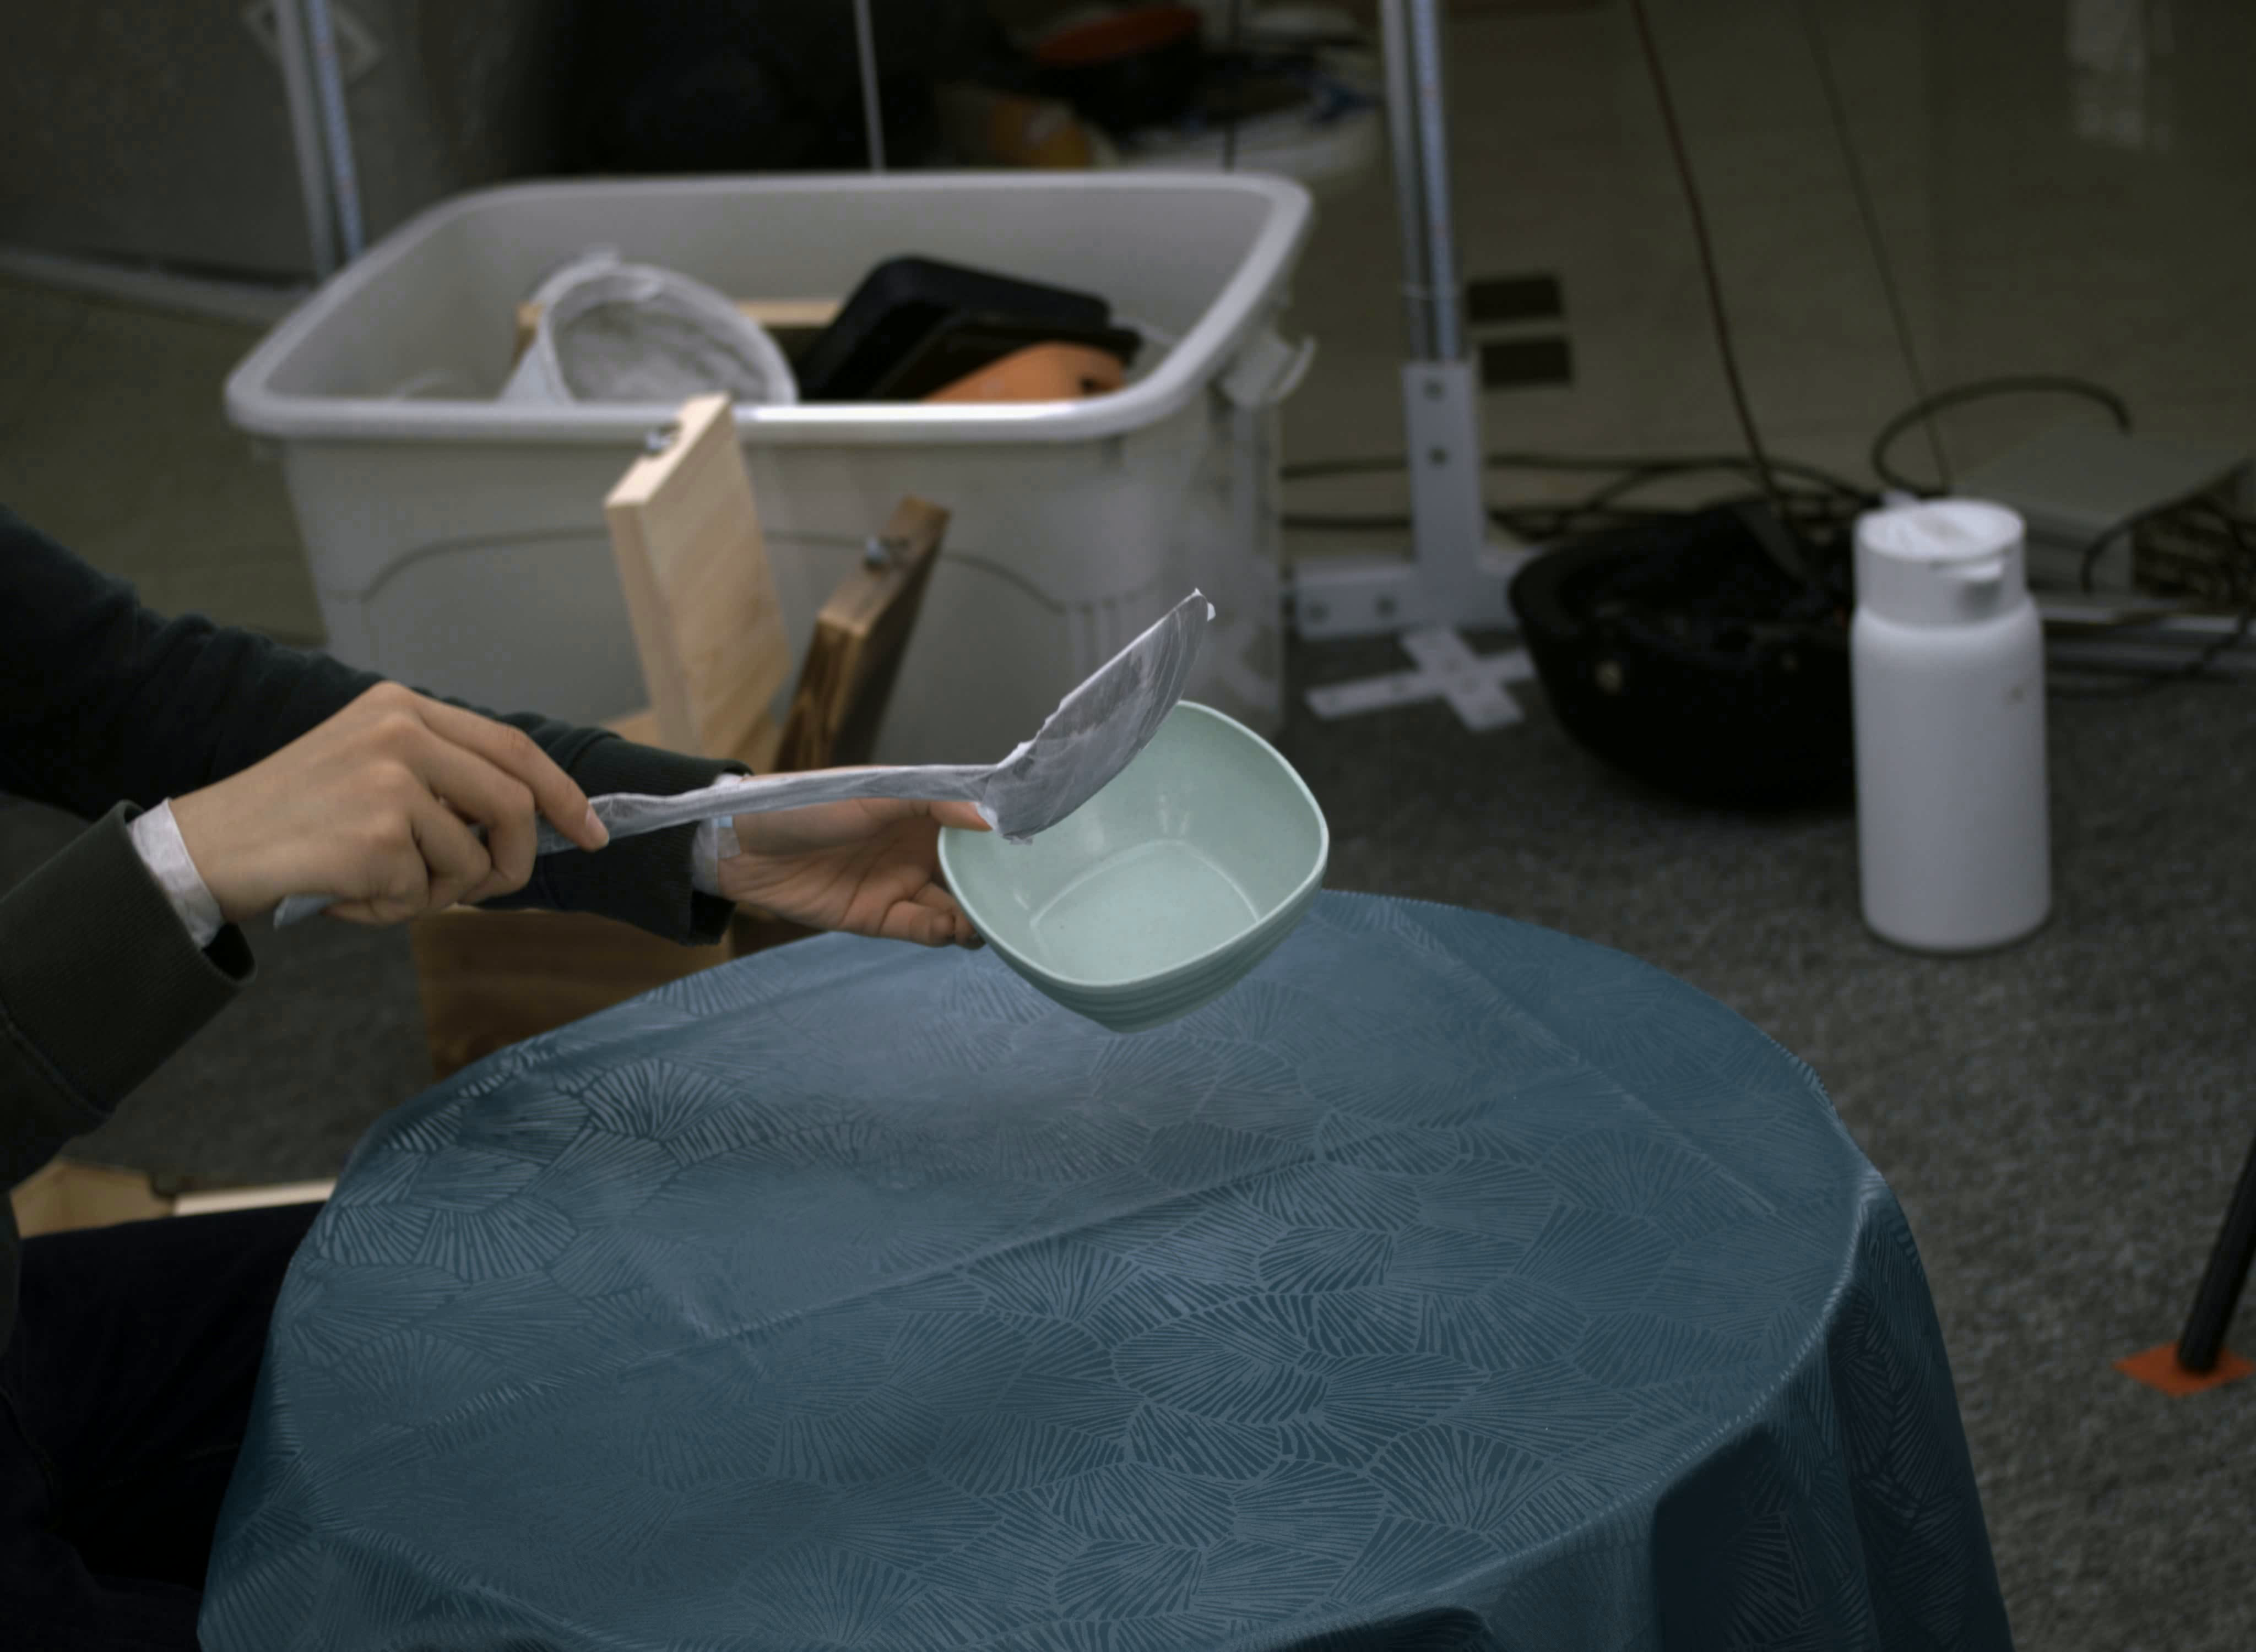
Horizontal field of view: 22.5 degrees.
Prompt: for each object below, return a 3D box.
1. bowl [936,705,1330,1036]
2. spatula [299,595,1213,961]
[{"bbox_3d":[0.003,0.026,2.164,0.151,0.060,0.148,-3,46,3],"label":"bowl"},{"bbox_3d":[-0.120,-0.010,1.908,0.363,0.100,0.044,-11,57,-31],"label":"spatula"}]
